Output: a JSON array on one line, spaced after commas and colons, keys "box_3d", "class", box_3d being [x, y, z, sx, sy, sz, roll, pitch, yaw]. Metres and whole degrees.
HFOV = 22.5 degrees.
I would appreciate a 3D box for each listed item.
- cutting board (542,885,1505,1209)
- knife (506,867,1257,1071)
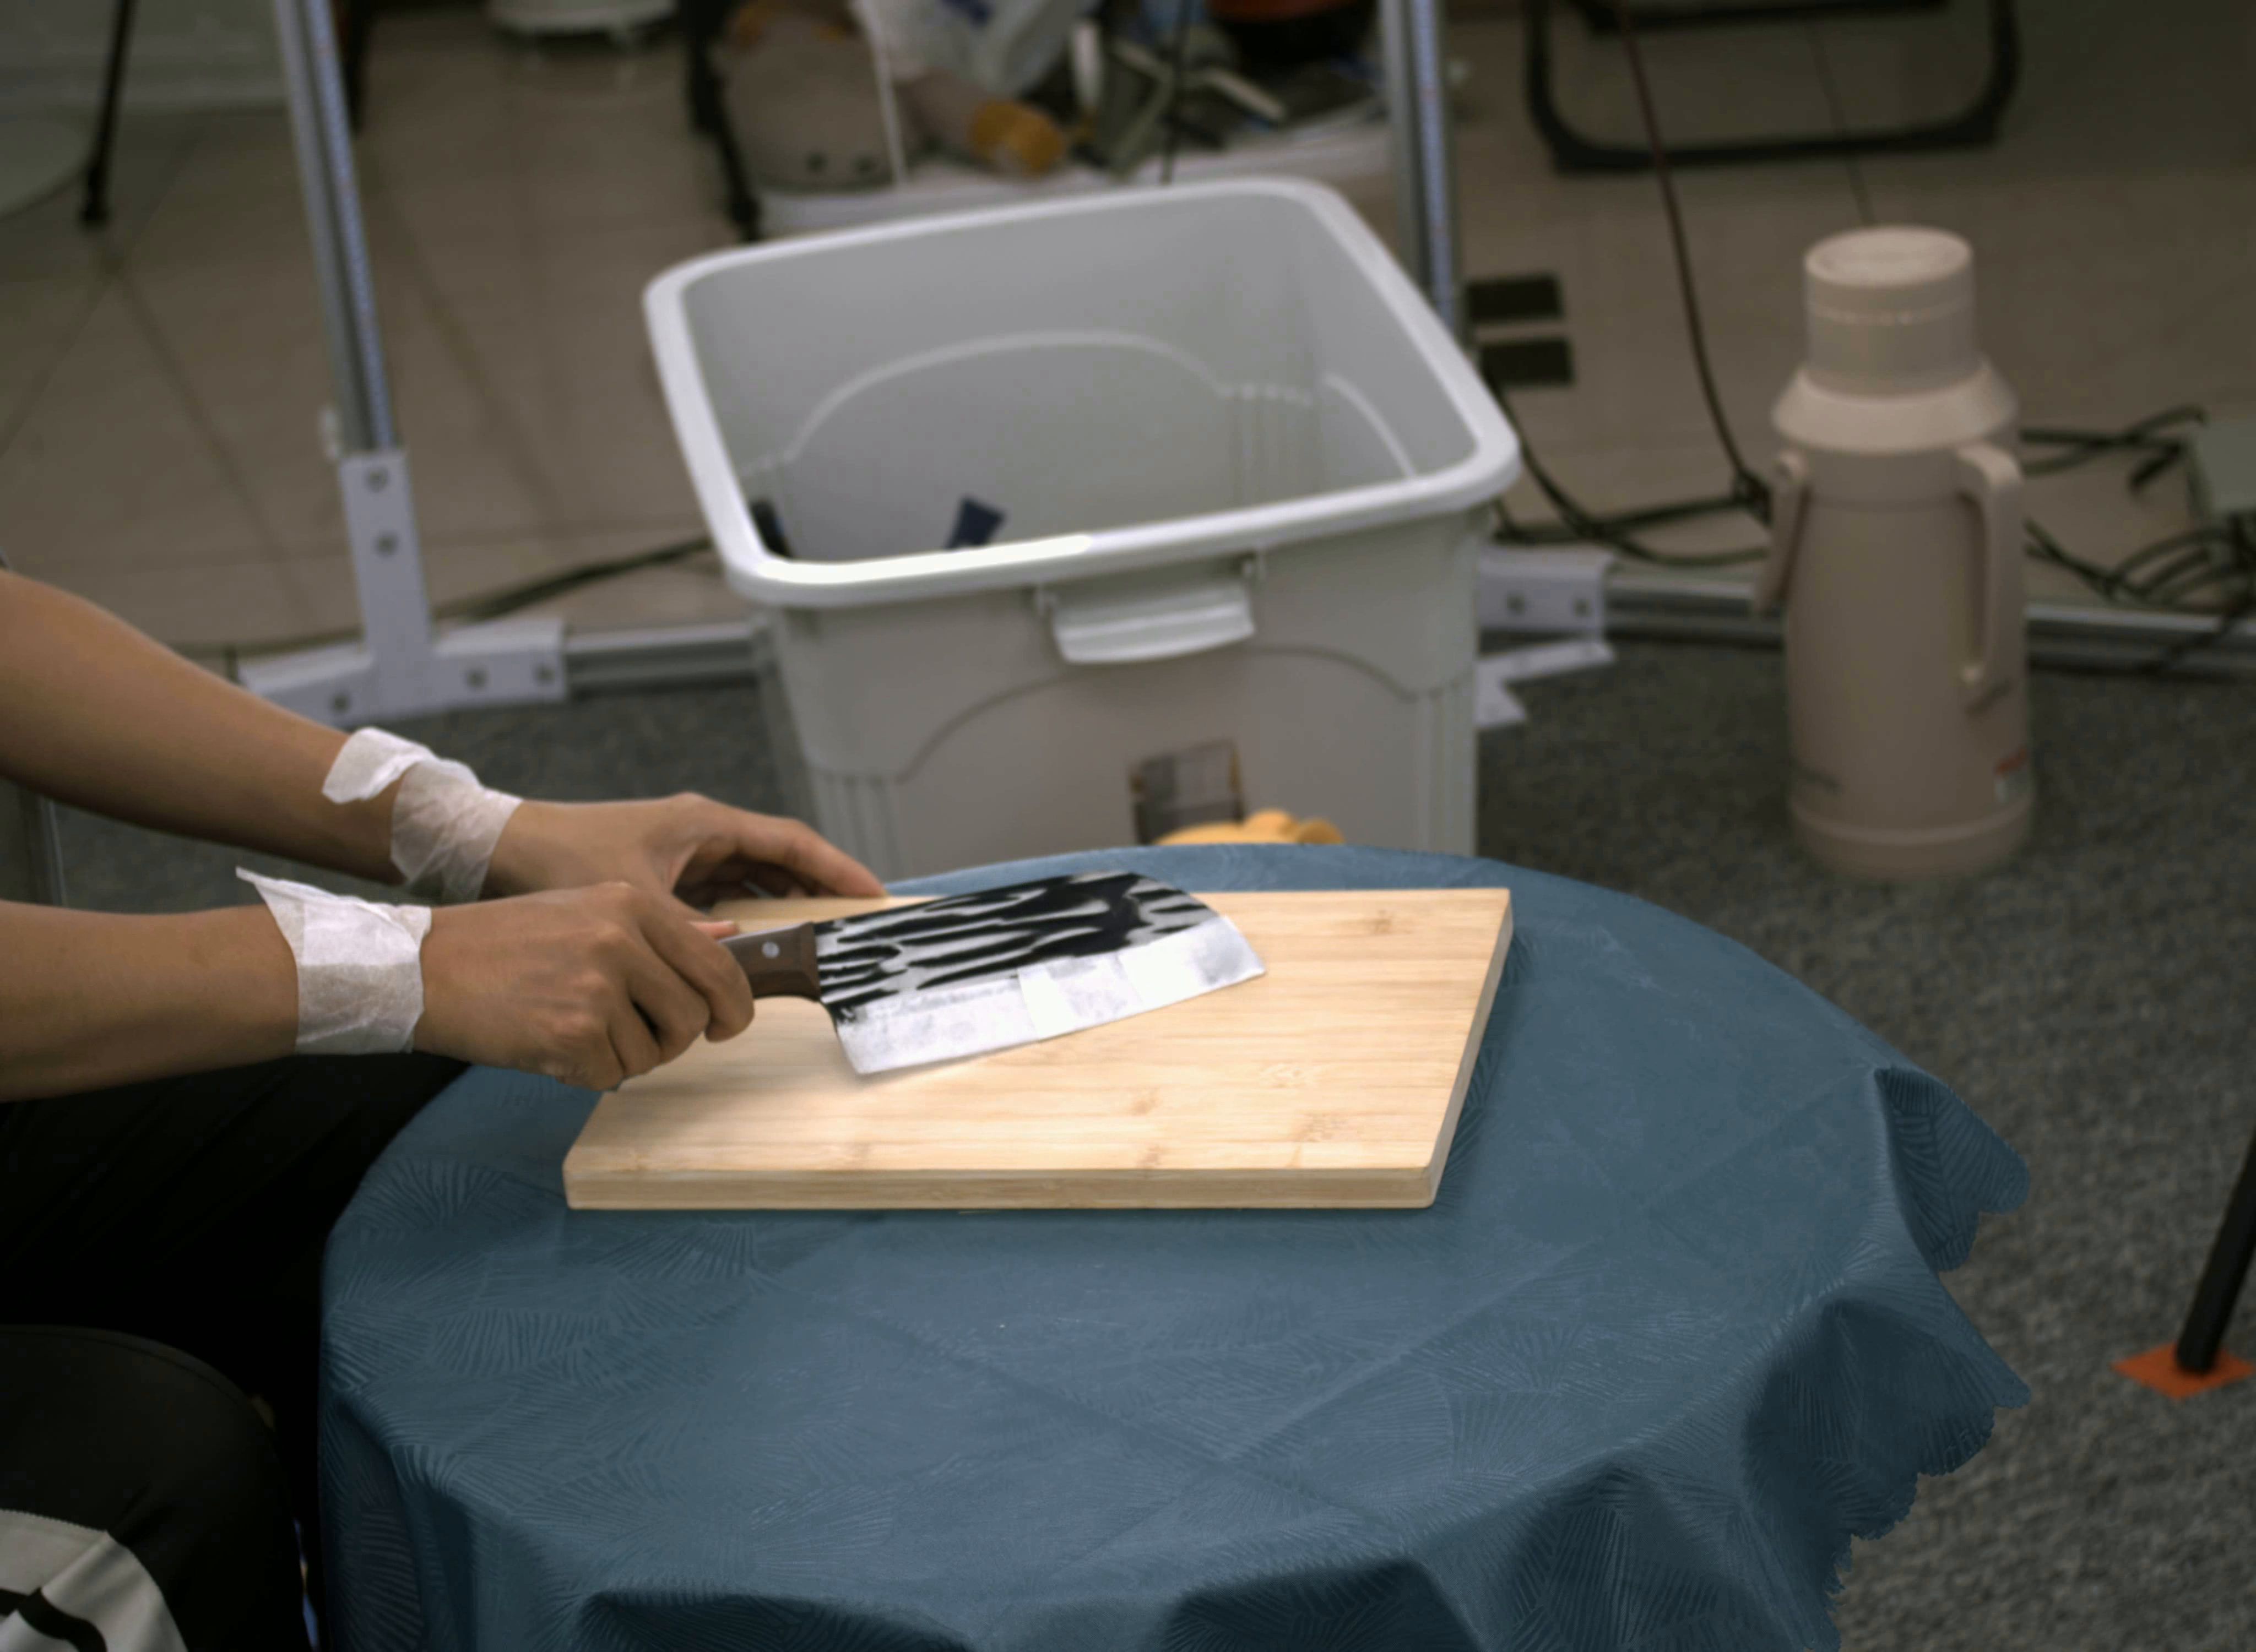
[{"box_3d": [-0.036, 0.087, 2.253, 0.348, 0.024, 0.247, -1, 25, 12], "class": "cutting board"}, {"box_3d": [-0.094, 0.061, 2.230, 0.298, 0.024, 0.067, -10, 68, -18], "class": "knife"}]
